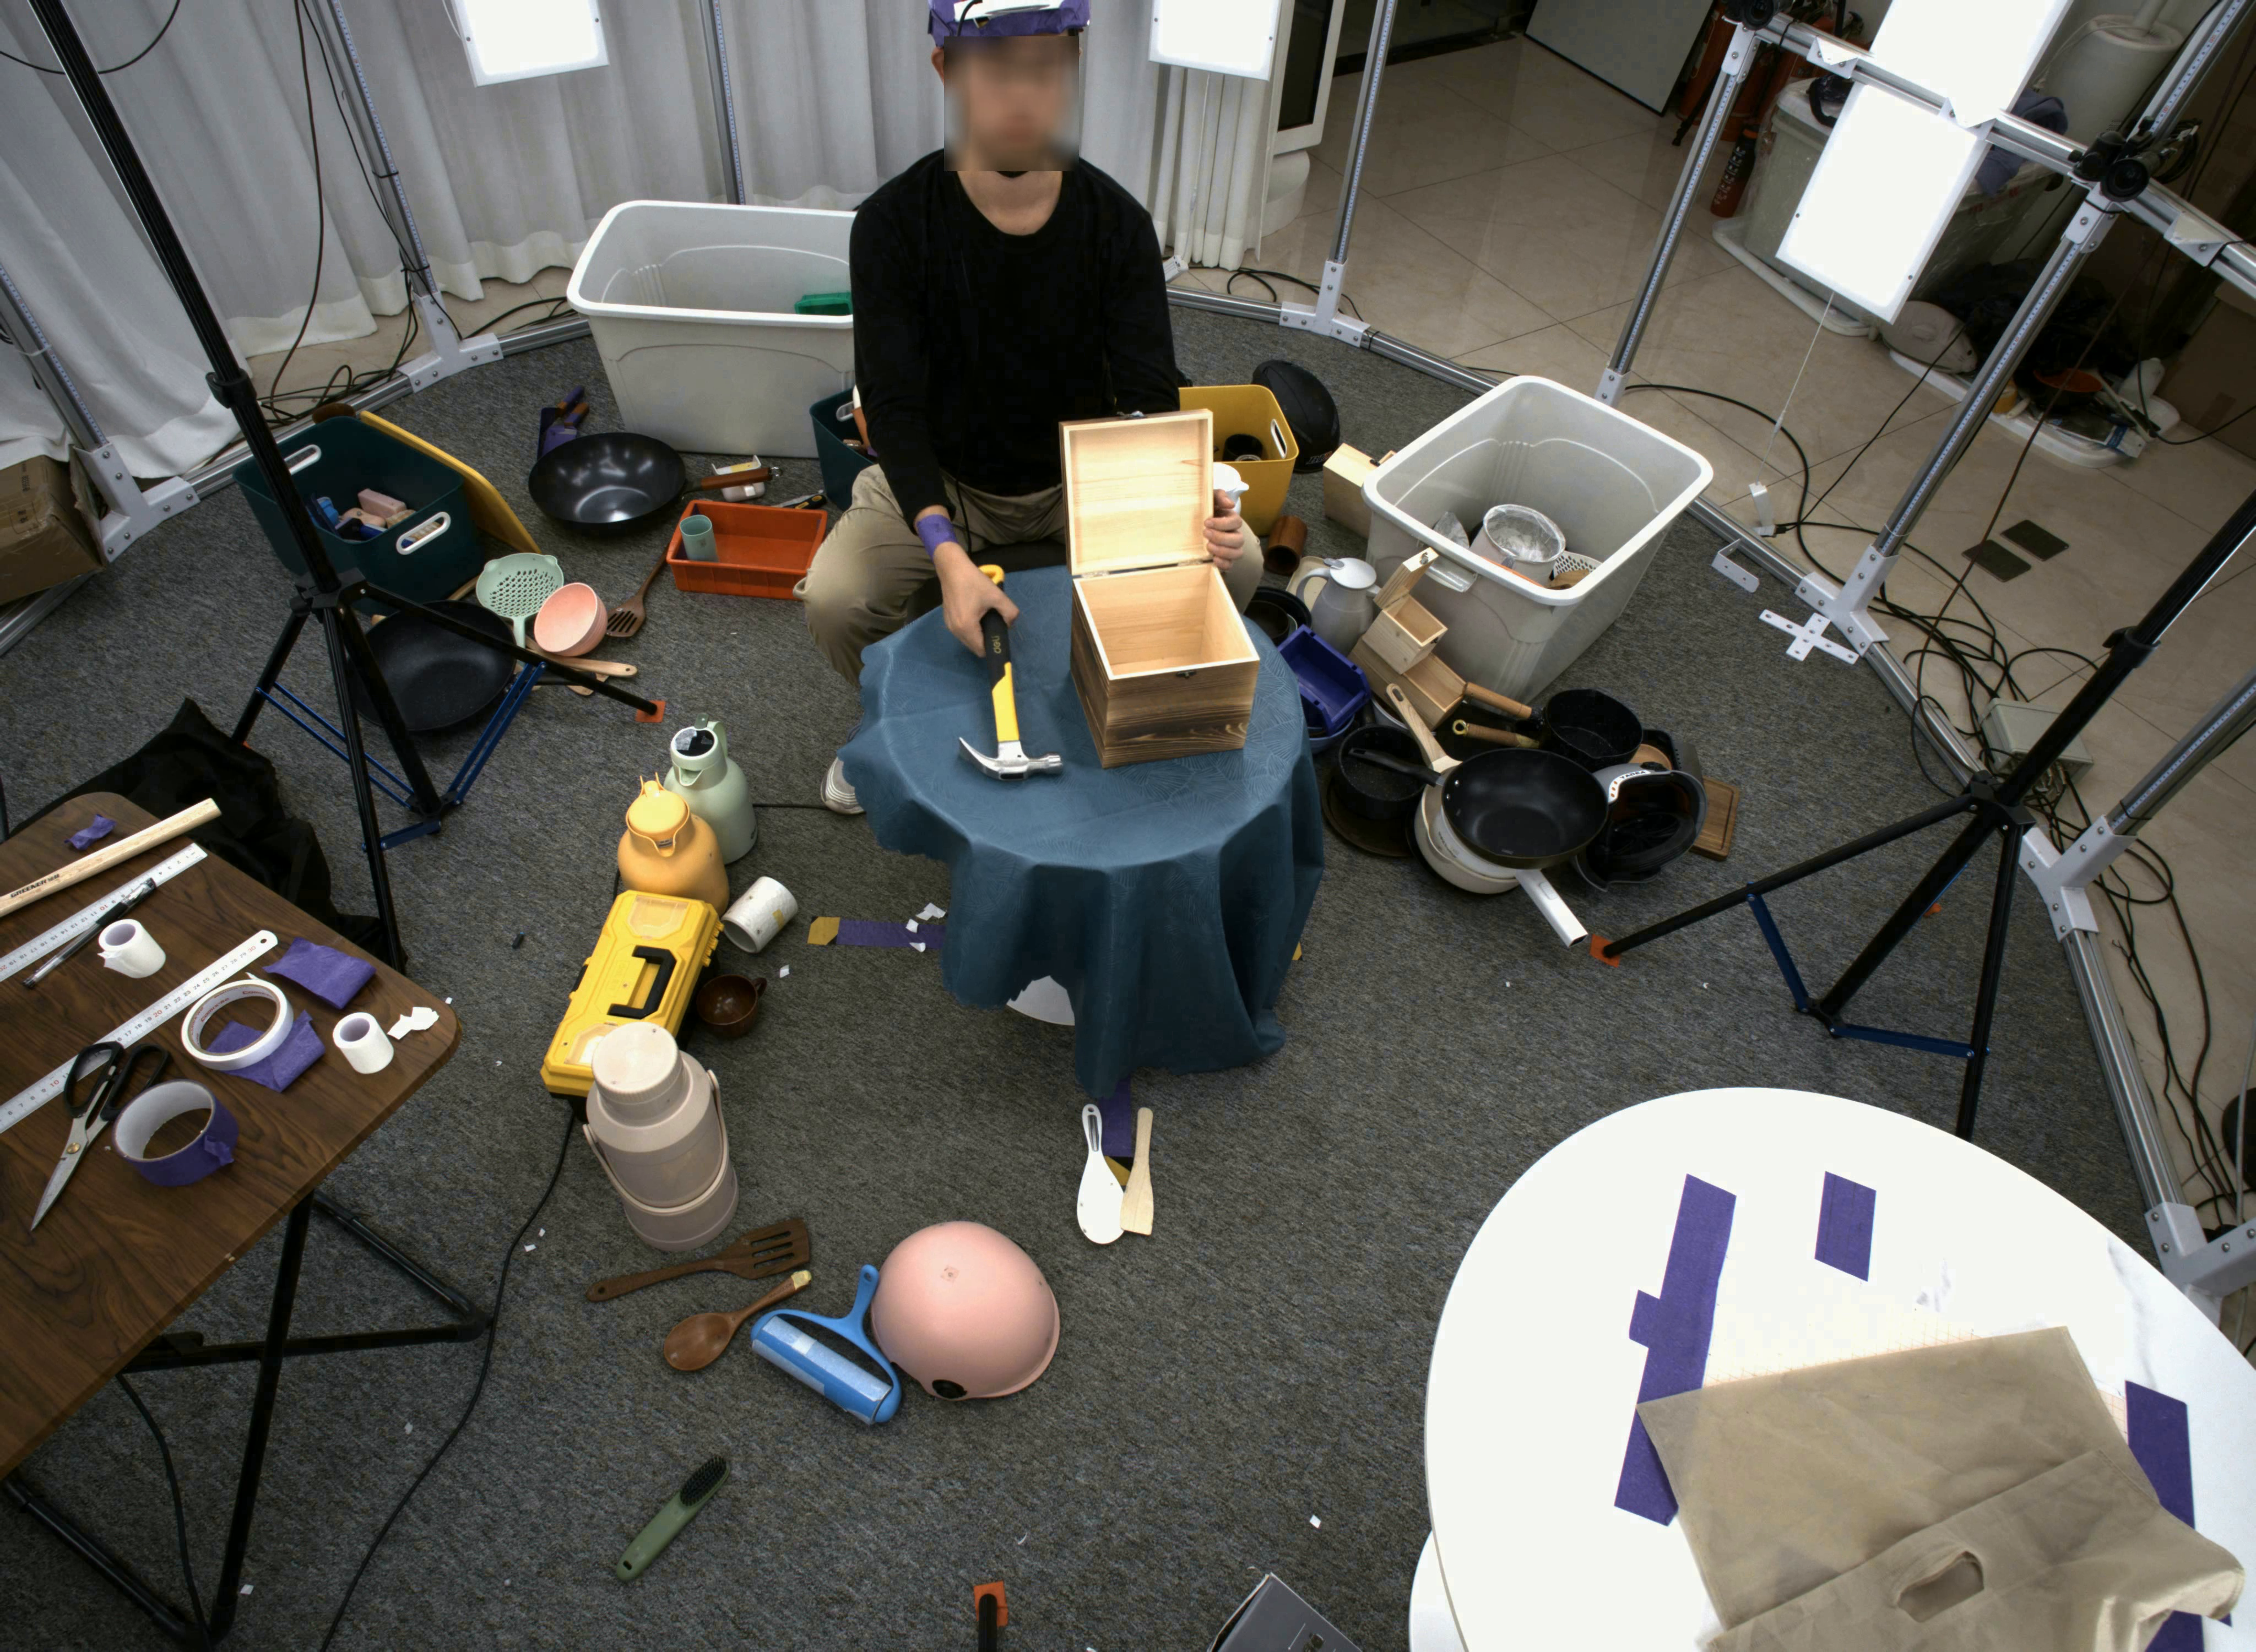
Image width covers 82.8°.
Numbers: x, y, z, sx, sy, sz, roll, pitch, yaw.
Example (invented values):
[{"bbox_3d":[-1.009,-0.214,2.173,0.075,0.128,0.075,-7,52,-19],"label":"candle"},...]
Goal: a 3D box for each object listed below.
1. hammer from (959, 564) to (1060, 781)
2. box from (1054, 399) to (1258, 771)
[{"bbox_3d":[-0.175,-0.218,1.777,0.131,0.031,0.345,-4,64,-6],"label":"hammer"},{"bbox_3d":[0.033,-0.319,1.718,0.208,0.366,0.330,-9,50,-11],"label":"box"}]
